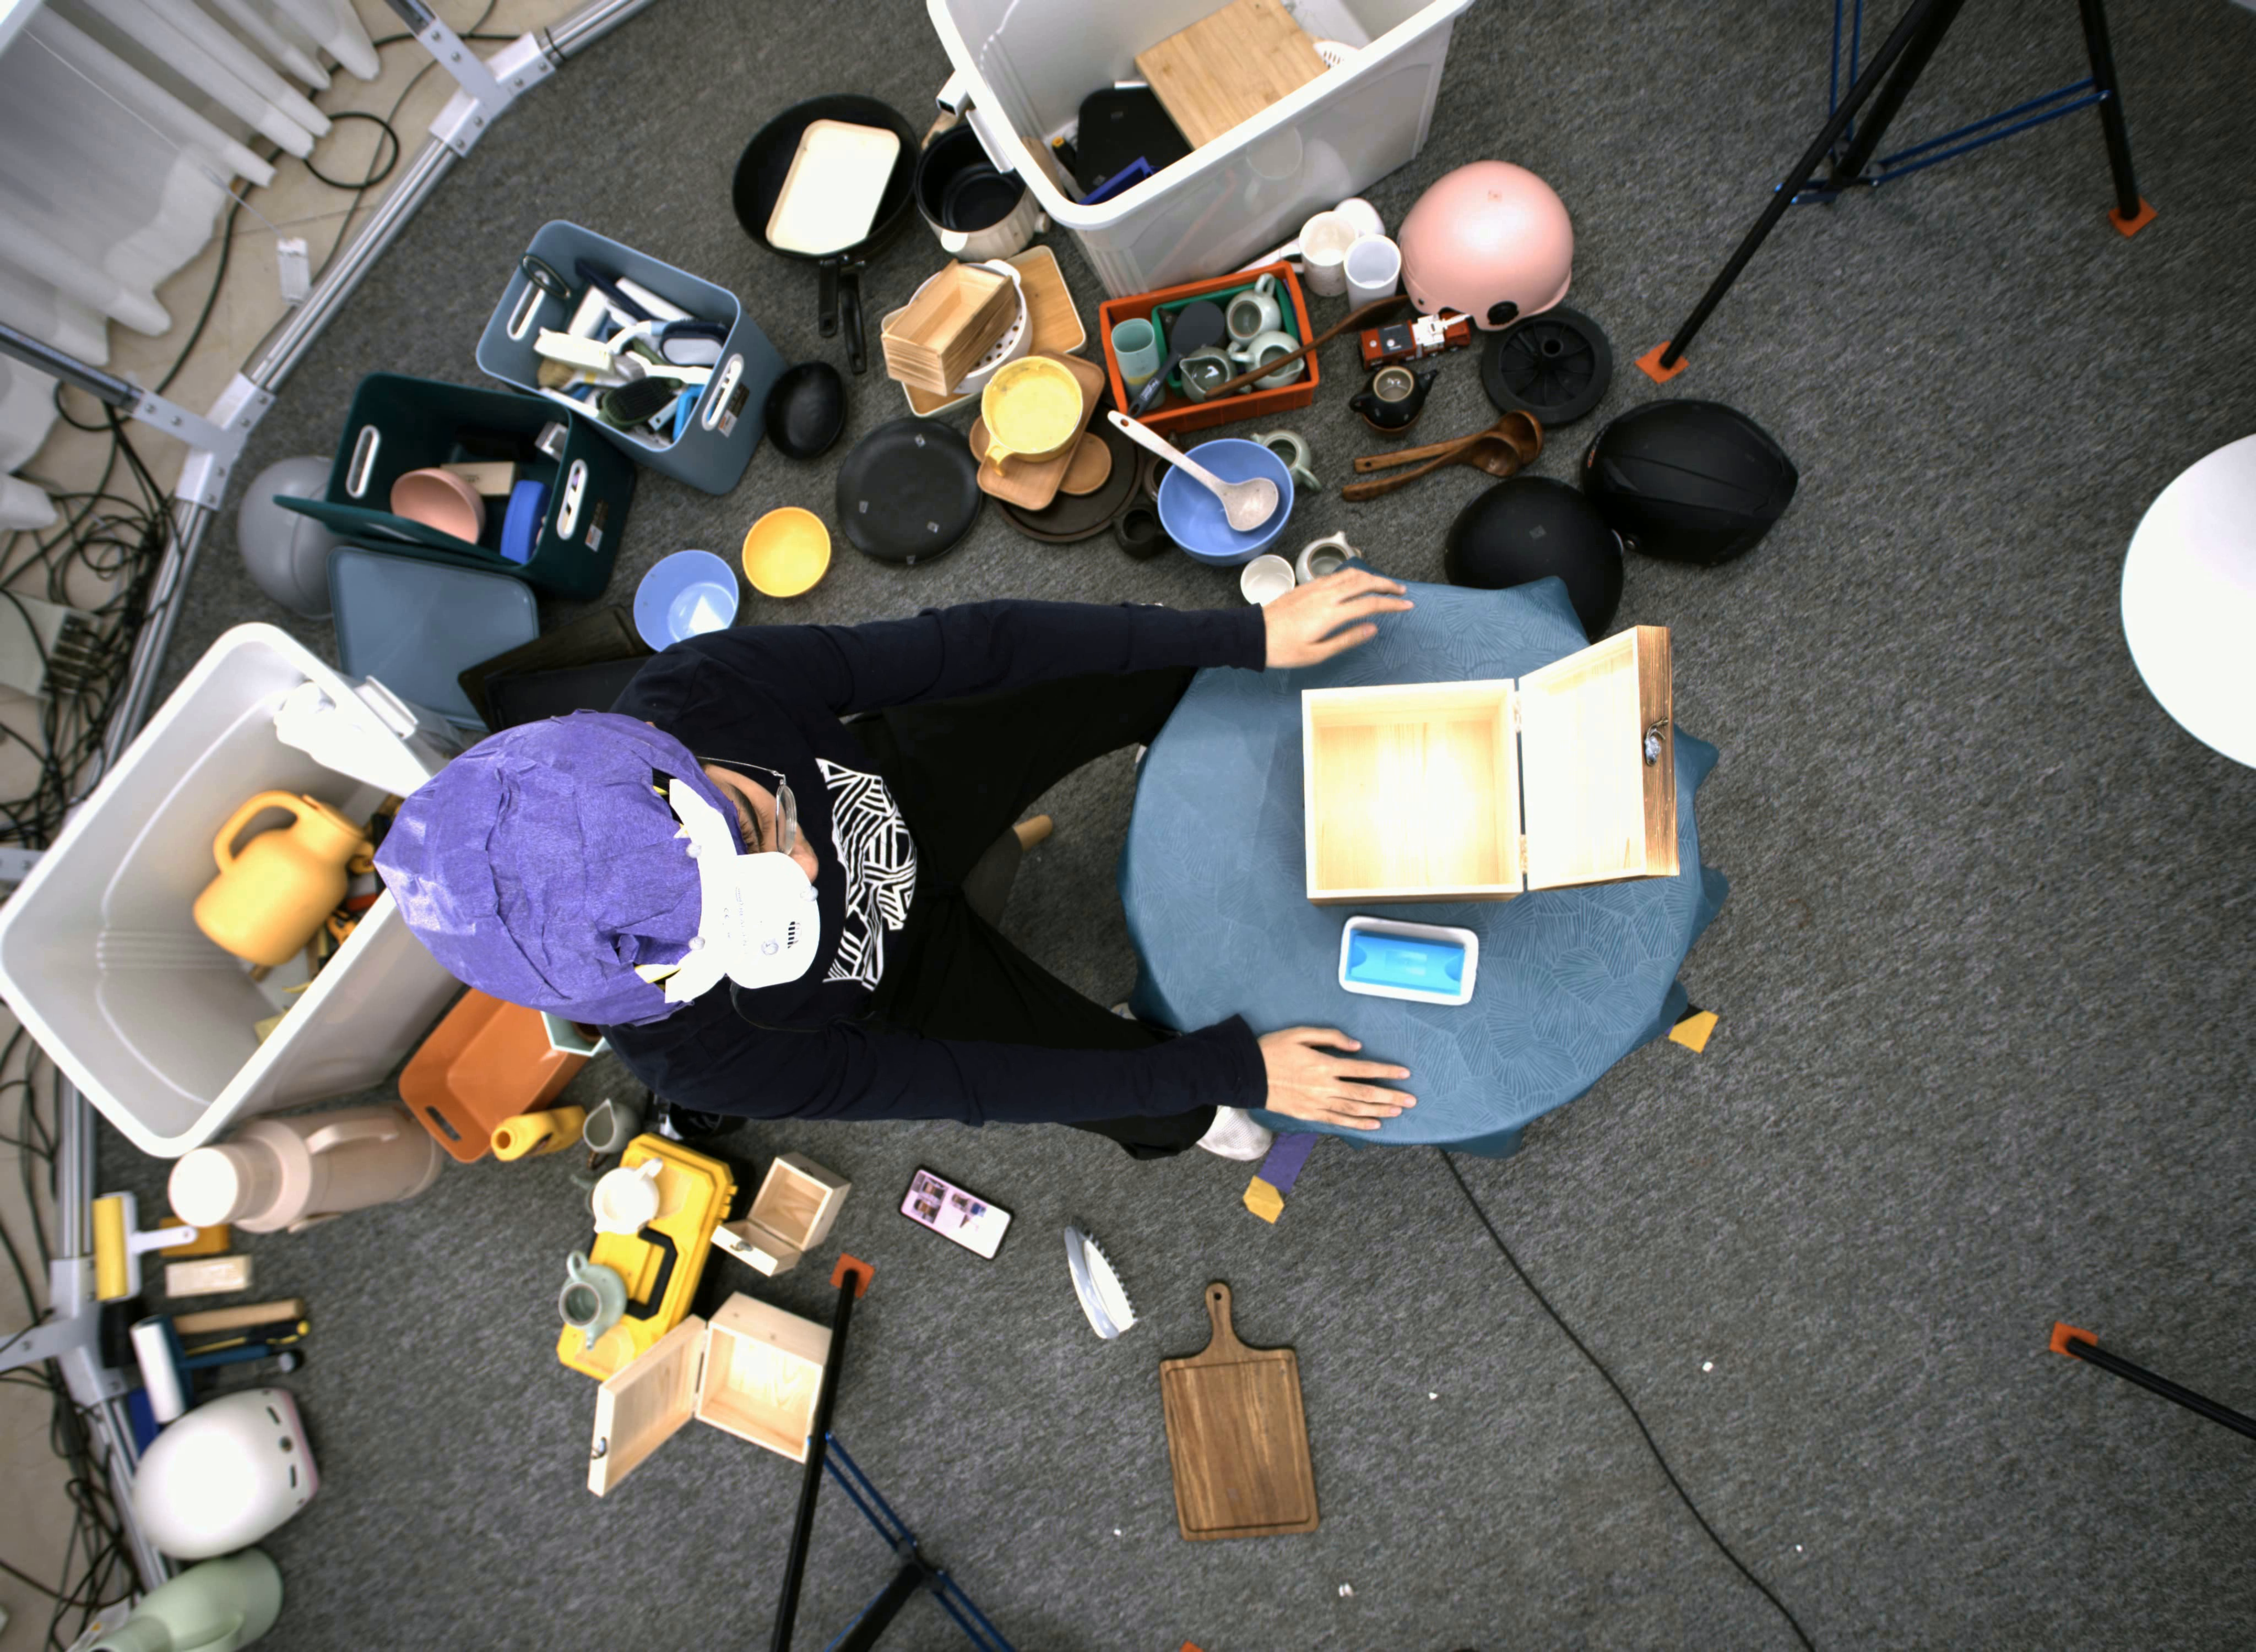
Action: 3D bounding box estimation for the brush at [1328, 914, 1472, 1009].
[{"bbox_3d":[0.281,0.137,1.423,0.144,0.056,0.083,9,85,9],"label":"brush"}]

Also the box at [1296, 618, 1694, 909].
[{"bbox_3d":[0.314,-0.042,1.273,0.323,0.376,0.207,-2,84,10],"label":"box"}]
